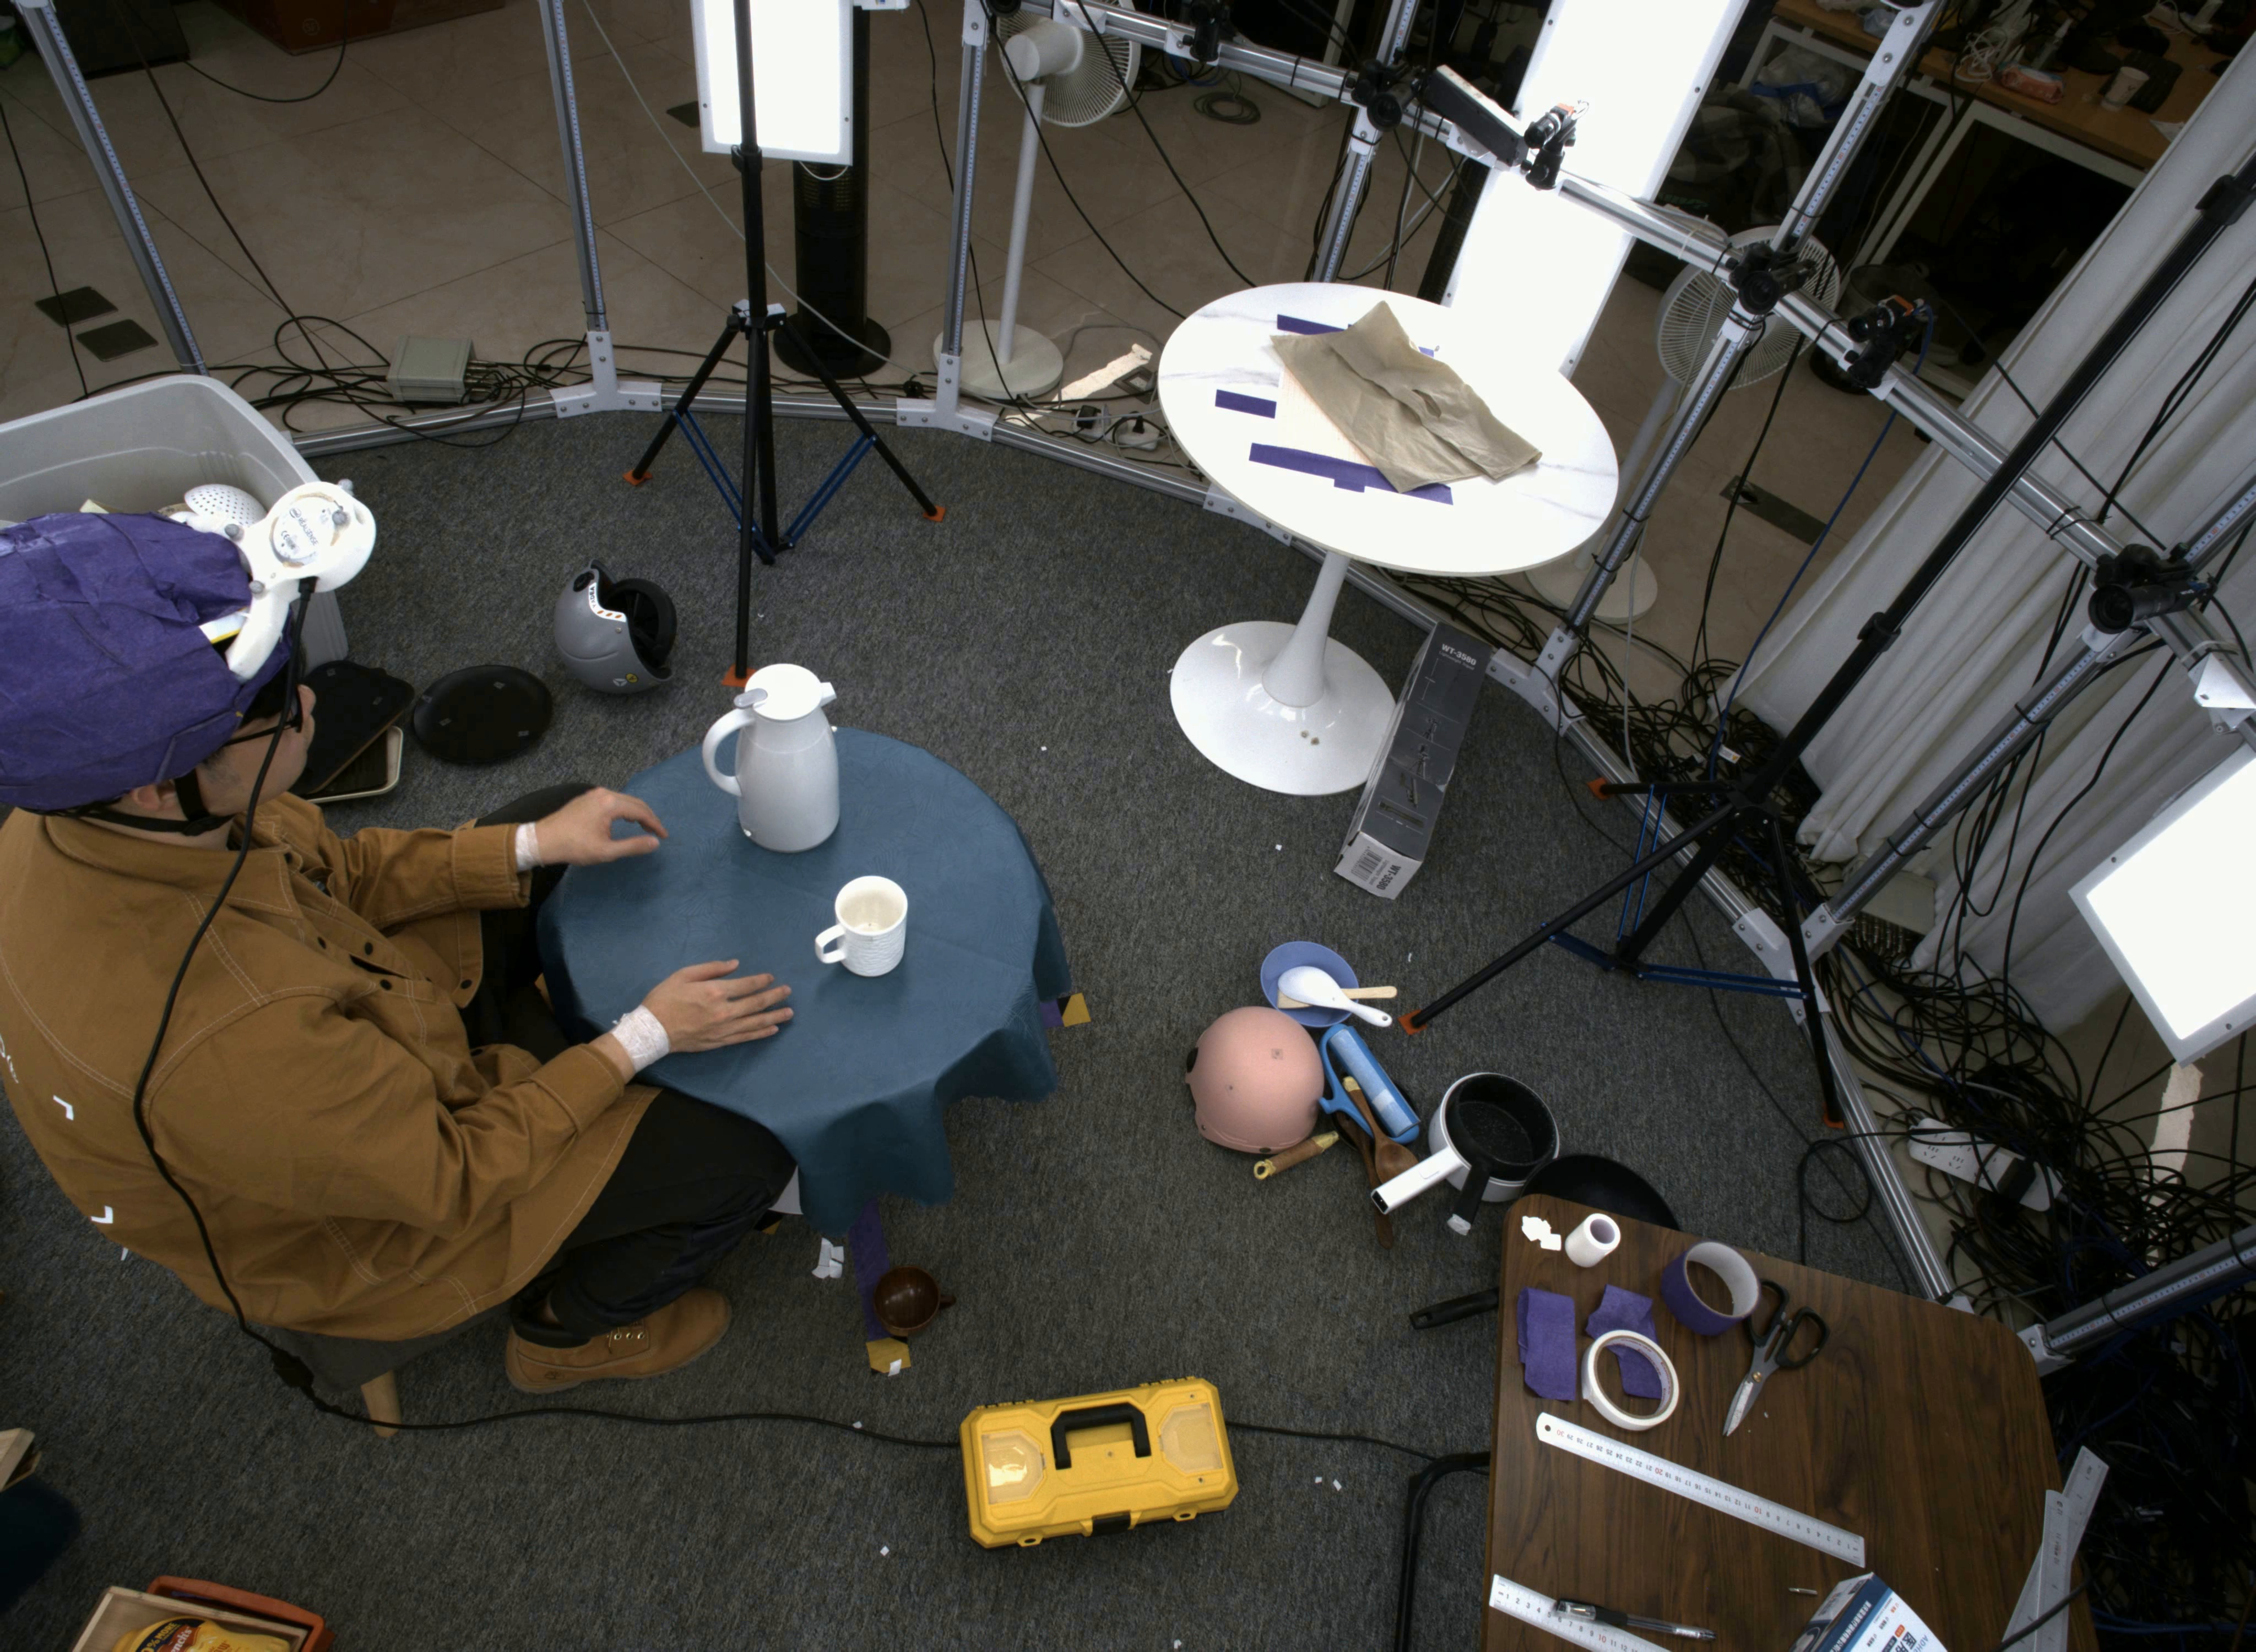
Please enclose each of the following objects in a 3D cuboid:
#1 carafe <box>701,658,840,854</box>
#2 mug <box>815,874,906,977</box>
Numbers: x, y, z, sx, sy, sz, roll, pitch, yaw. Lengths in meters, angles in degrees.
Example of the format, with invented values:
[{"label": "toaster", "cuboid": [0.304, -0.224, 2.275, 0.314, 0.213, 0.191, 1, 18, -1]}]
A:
[{"label": "carafe", "cuboid": [-0.448, -0.088, 1.620, 0.168, 0.254, 0.129, -19, 59, -24]}, {"label": "mug", "cuboid": [-0.327, 0.129, 1.584, 0.118, 0.104, 0.083, -31, 63, -30]}]
